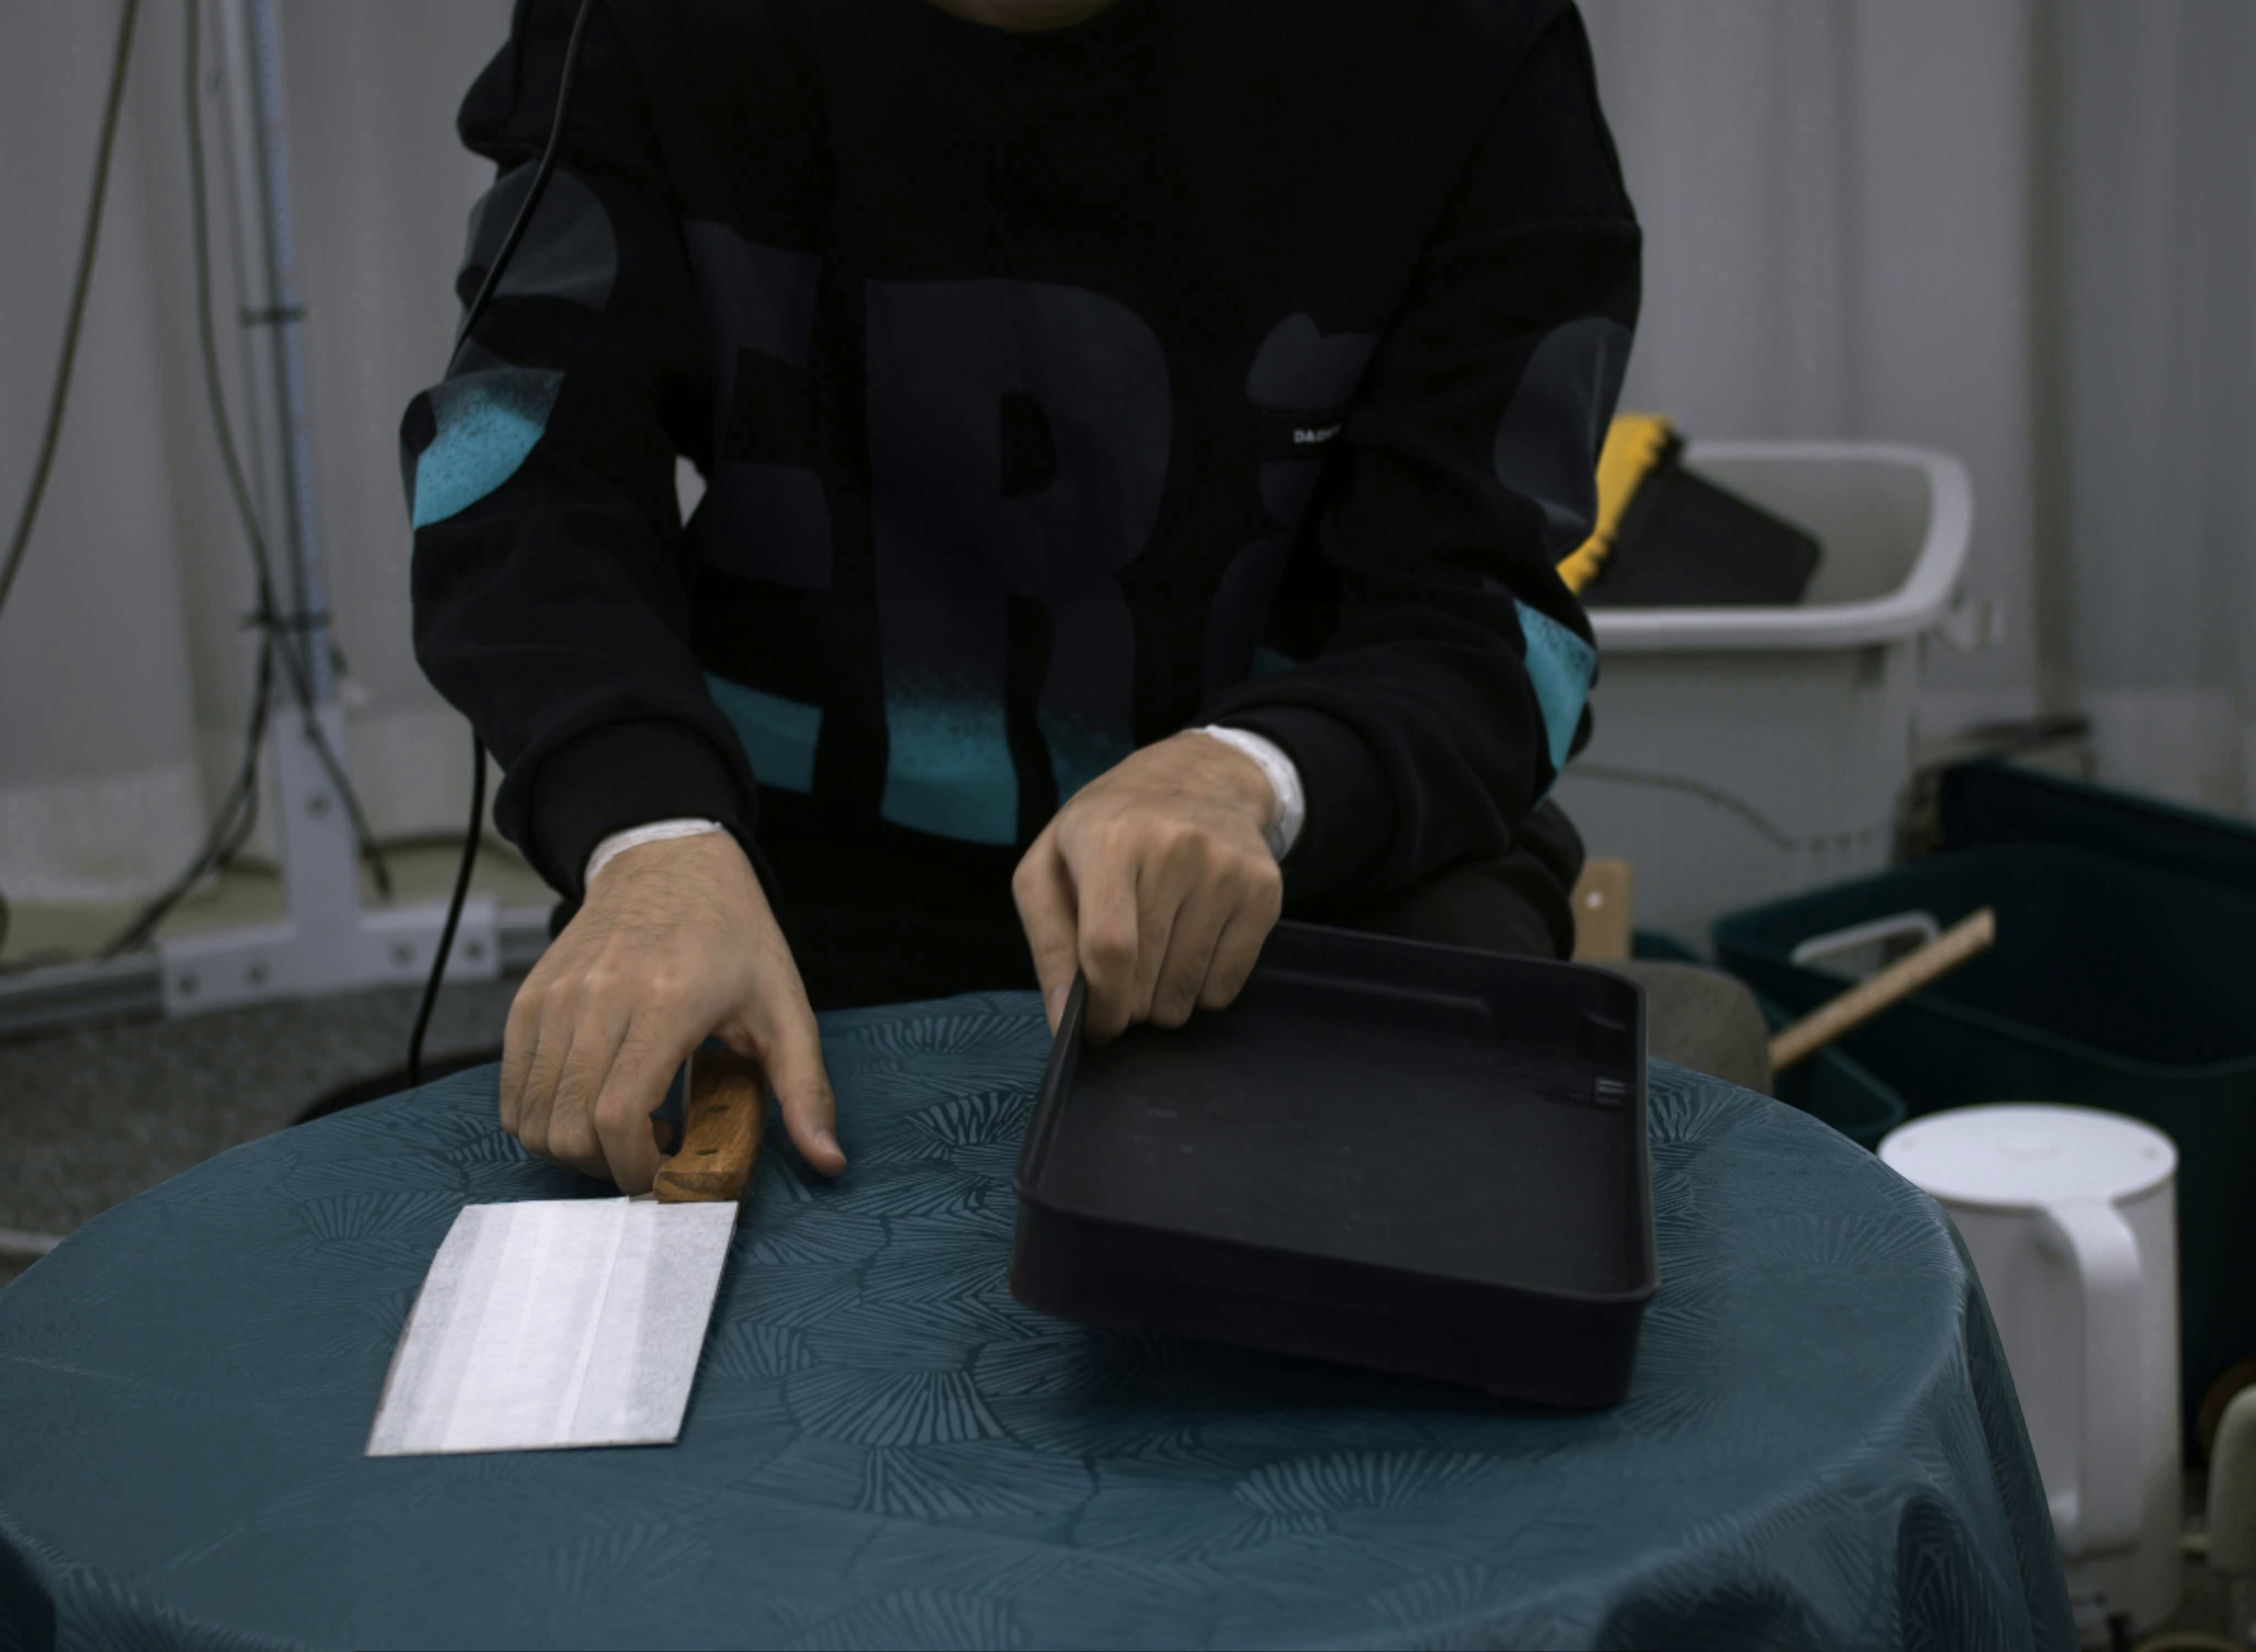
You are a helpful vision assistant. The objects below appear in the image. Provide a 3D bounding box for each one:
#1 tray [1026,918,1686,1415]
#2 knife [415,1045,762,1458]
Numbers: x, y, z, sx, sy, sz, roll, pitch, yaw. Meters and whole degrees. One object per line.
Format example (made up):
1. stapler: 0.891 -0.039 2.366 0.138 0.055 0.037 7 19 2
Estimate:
1. tray: 0.066 0.096 1.647 0.184 0.037 0.320 7 15 0
2. knife: -0.163 0.128 1.669 0.092 0.021 0.308 -4 17 3
